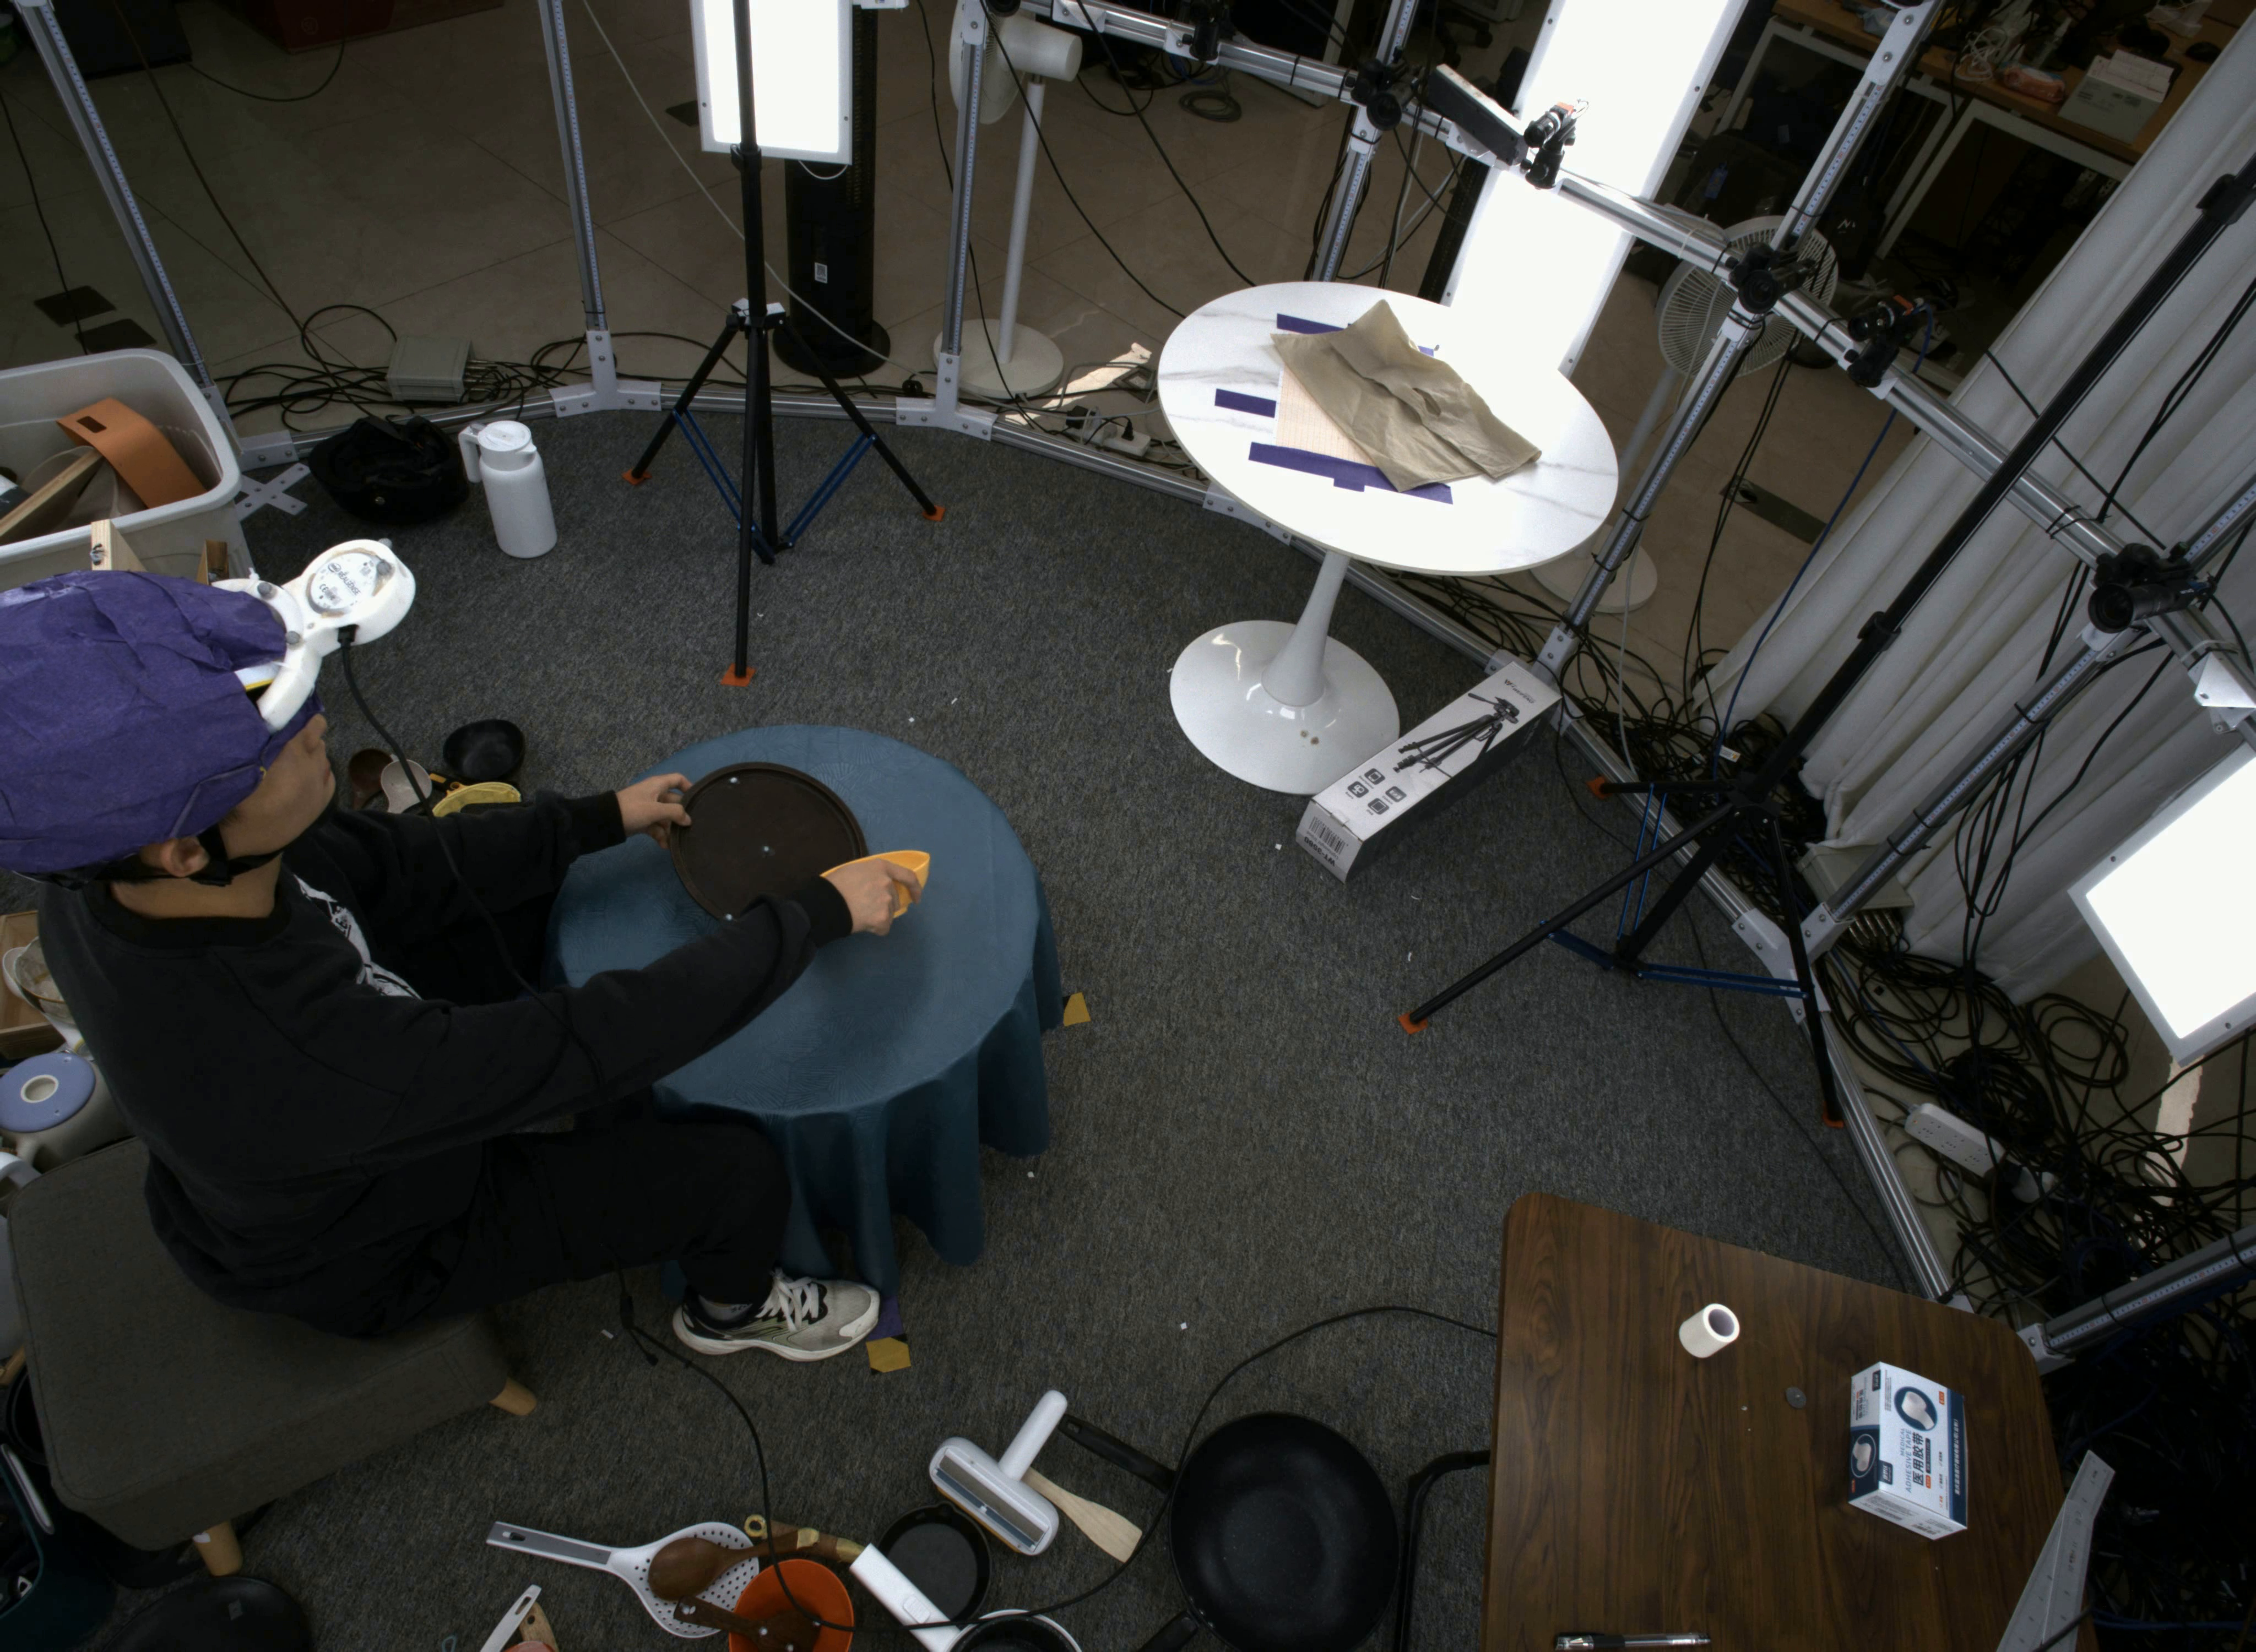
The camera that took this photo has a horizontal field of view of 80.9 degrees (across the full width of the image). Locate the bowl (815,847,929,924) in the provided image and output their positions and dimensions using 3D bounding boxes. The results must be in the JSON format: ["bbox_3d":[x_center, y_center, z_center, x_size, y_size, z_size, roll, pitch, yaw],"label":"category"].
[{"bbox_3d":[-0.306,0.078,1.593,0.143,0.062,0.143,-12,16,5],"label":"bowl"}]

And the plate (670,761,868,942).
[{"bbox_3d":[-0.453,0.030,1.640,0.259,0.029,0.251,18,55,-25],"label":"plate"}]
